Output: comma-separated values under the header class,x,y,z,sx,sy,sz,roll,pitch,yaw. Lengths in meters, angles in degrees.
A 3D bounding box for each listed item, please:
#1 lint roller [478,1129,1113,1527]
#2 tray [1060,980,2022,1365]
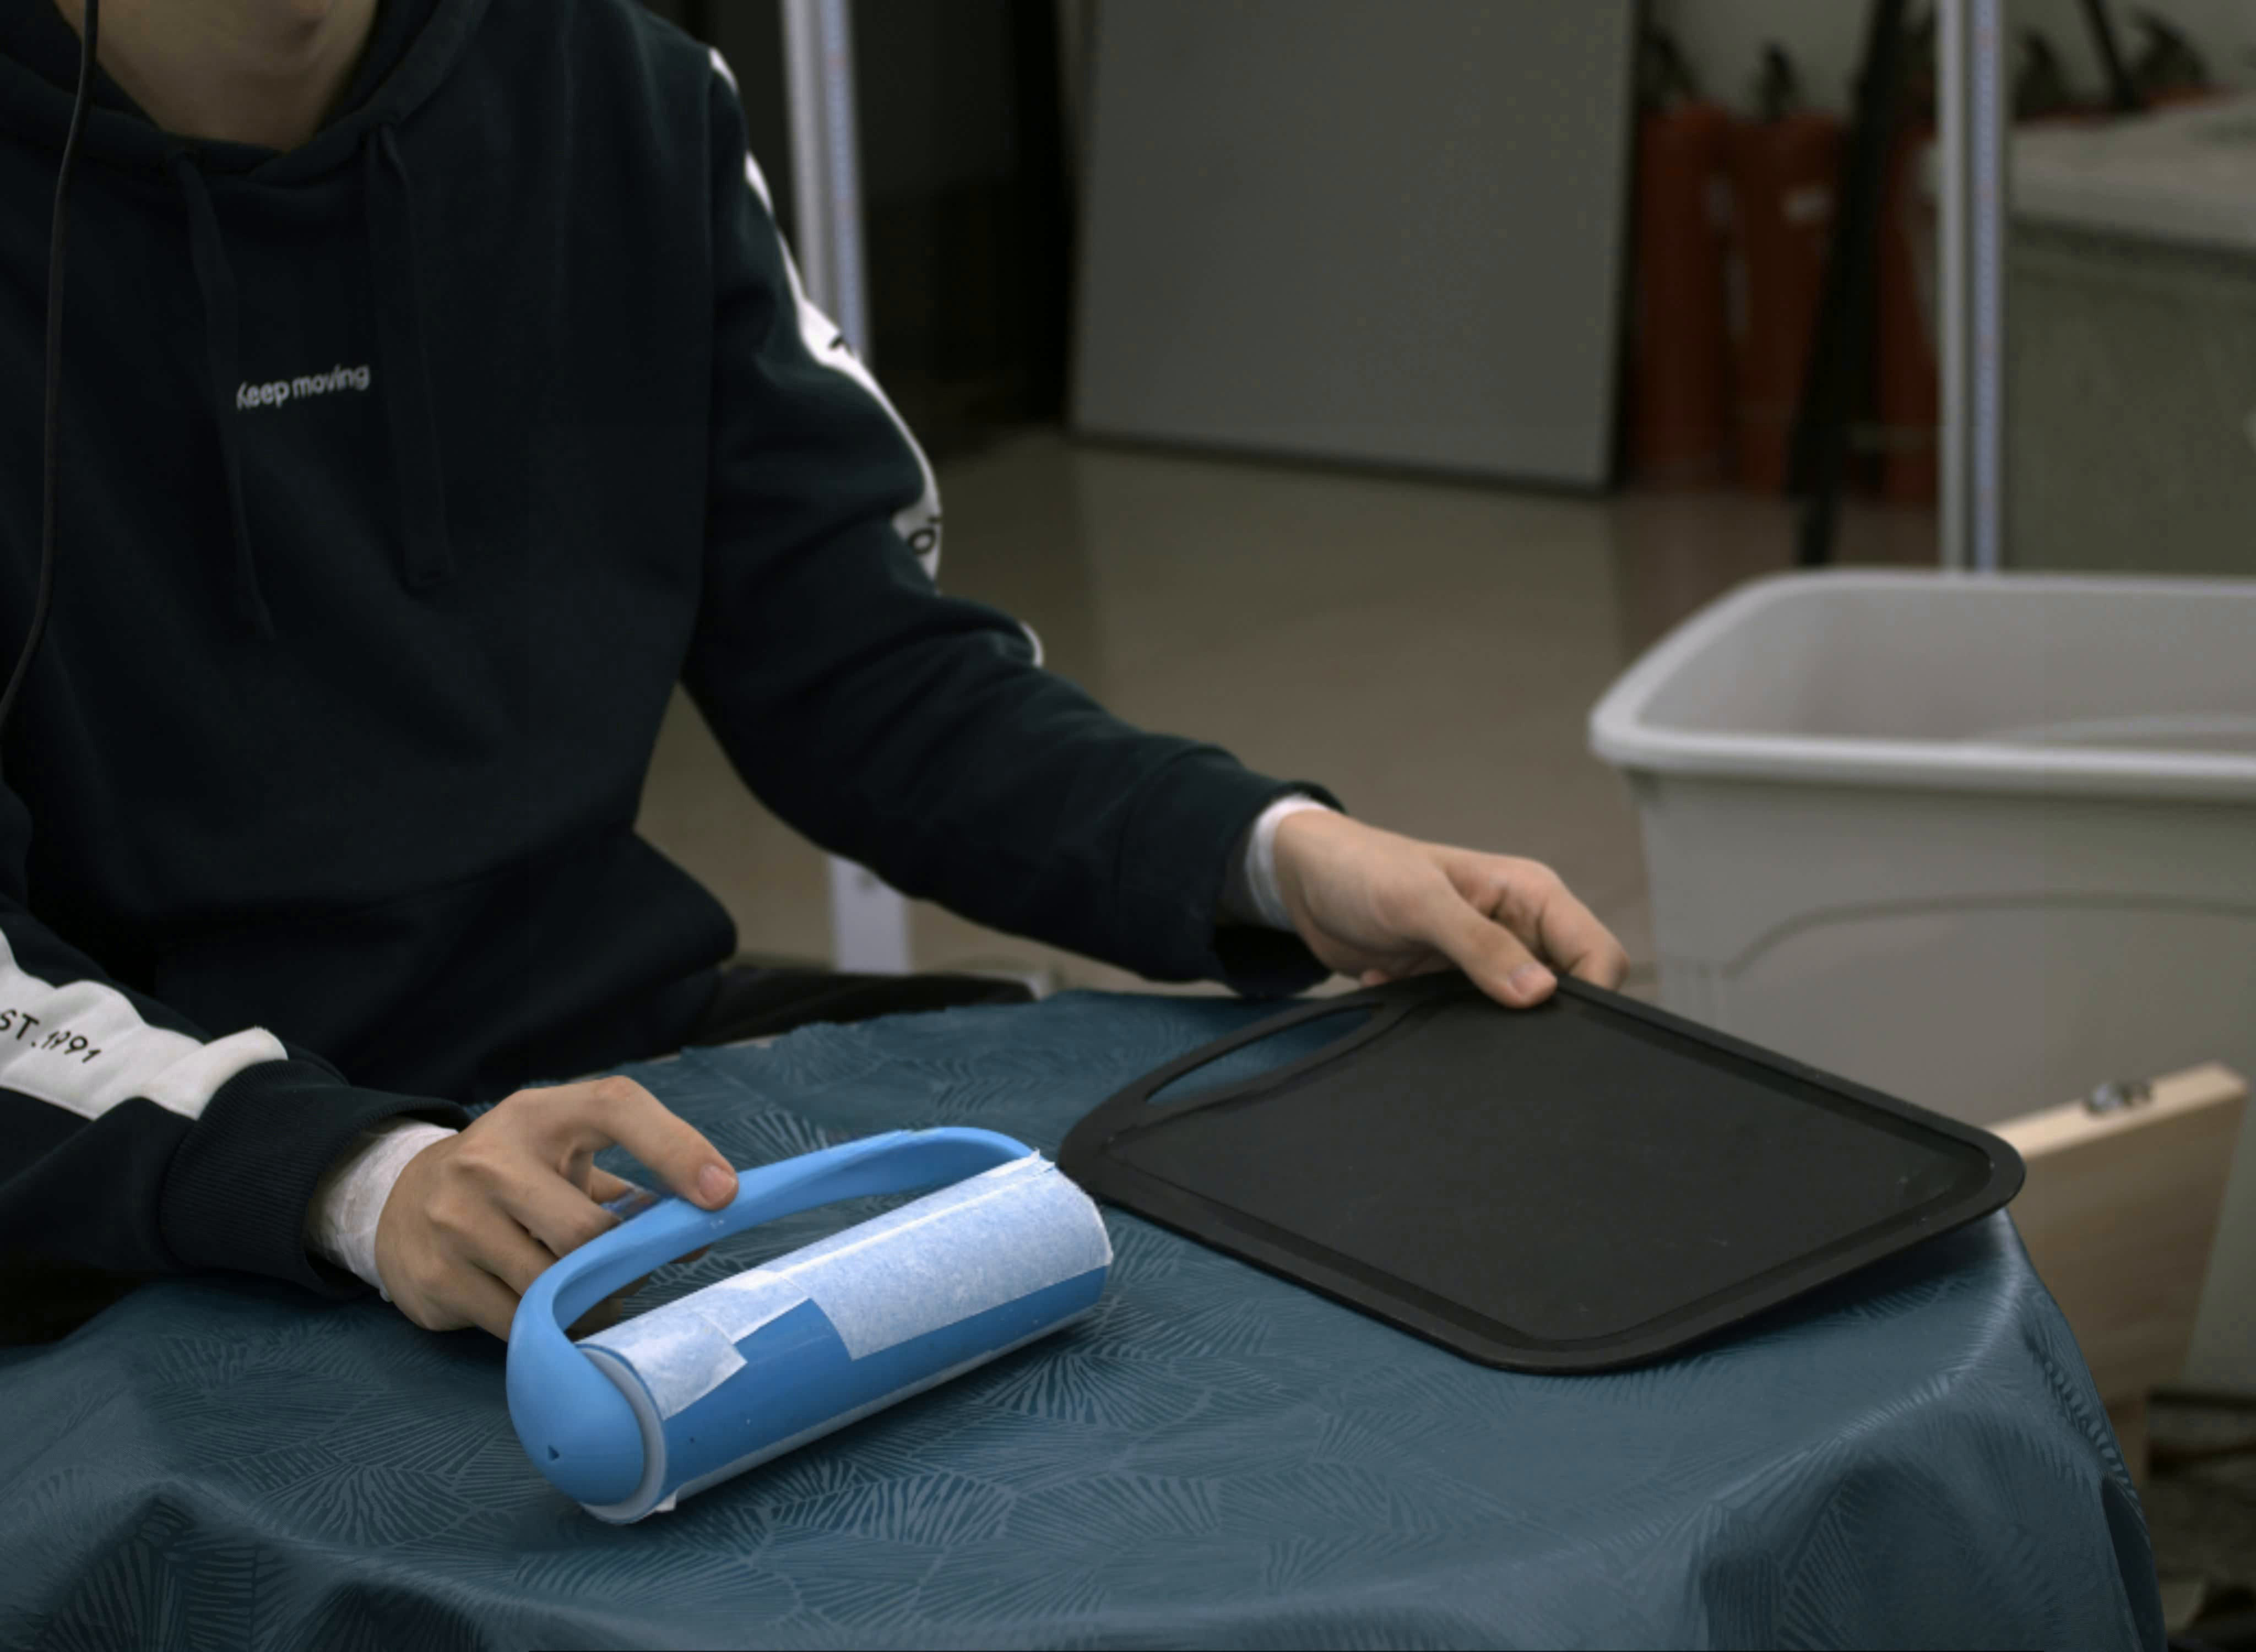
class,x,y,z,sx,sy,sz,roll,pitch,yaw
lint roller,-0.131,0.141,1.611,0.181,0.068,0.225,7,19,38
tray,0.121,0.104,1.737,0.207,0.010,0.329,-20,20,-27
